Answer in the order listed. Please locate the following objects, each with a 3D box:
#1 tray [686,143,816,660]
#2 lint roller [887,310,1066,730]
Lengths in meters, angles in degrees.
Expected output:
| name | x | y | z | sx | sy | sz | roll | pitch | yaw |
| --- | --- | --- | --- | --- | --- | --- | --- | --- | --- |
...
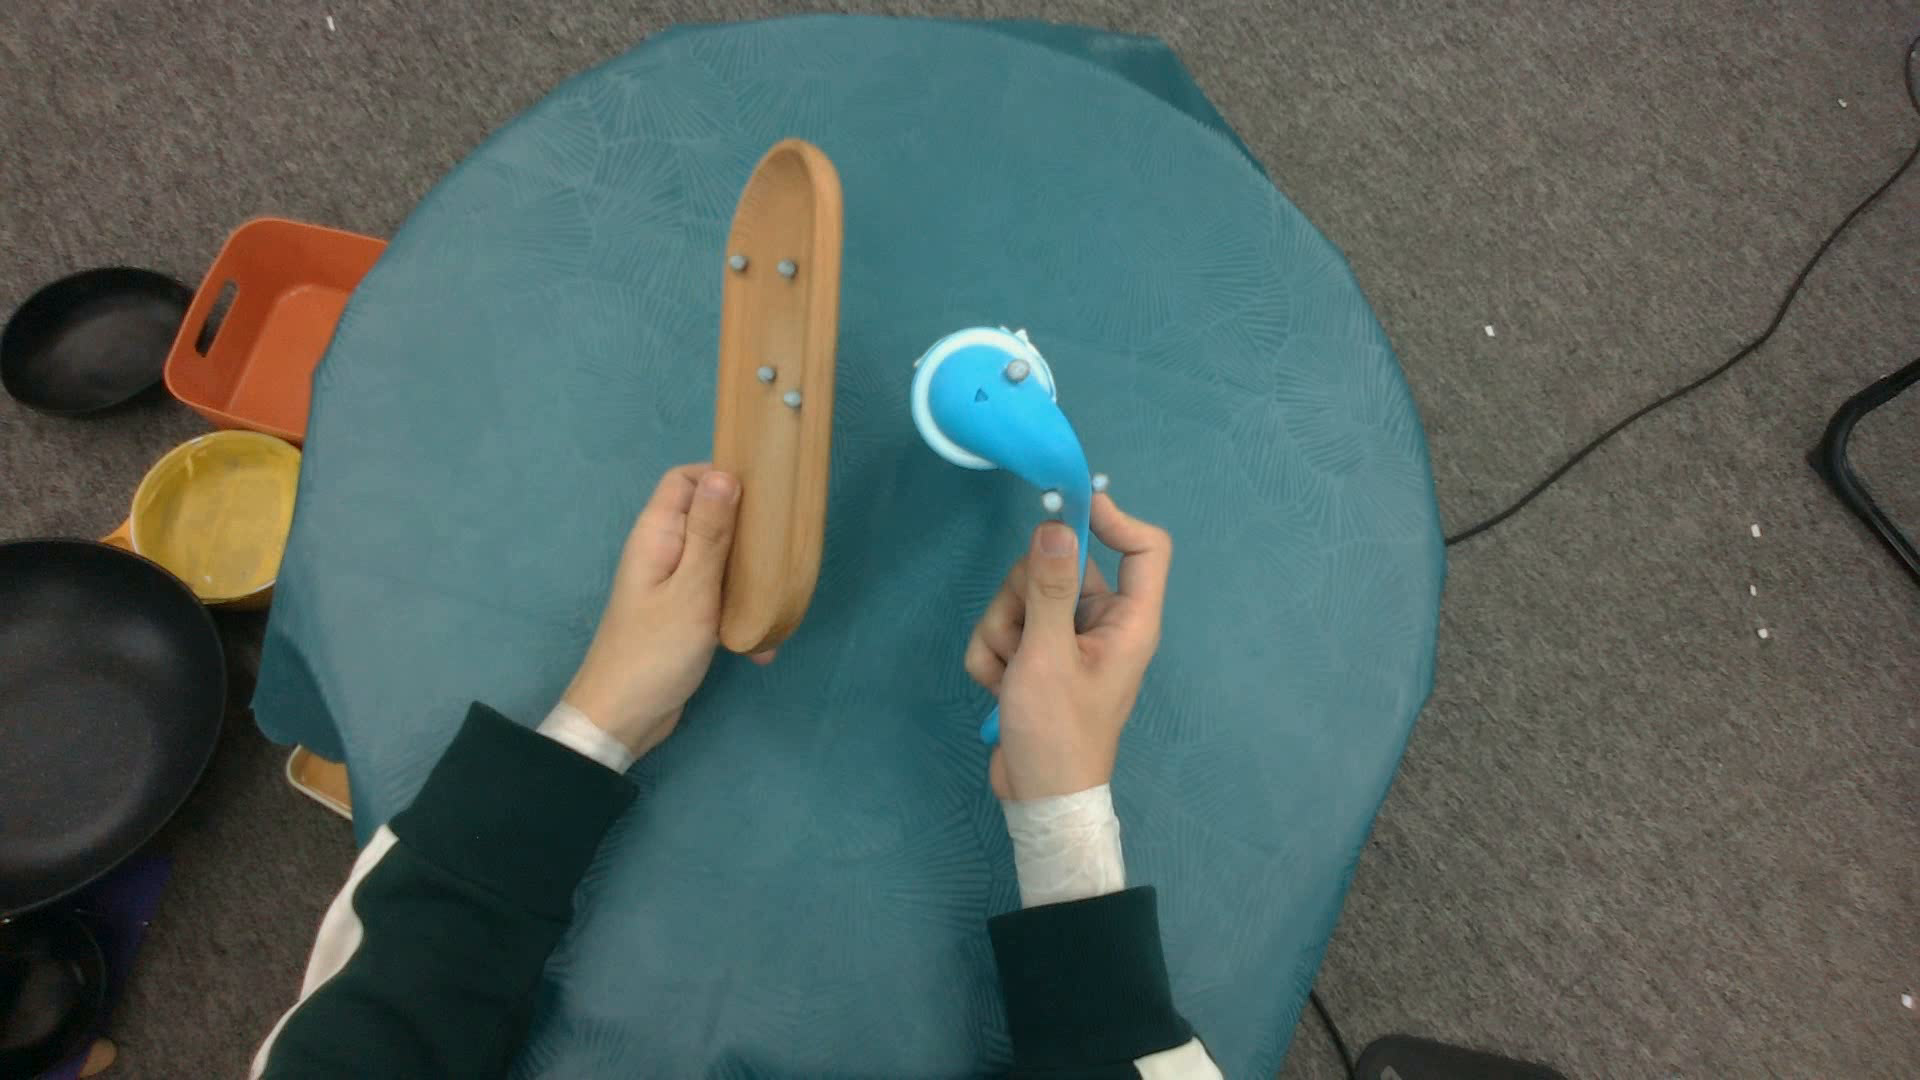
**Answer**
| name | x | y | z | sx | sy | sz | roll | pitch | yaw |
| --- | --- | --- | --- | --- | --- | --- | --- | --- | --- |
| tray | -0.093 | -0.063 | 0.612 | 0.020 | 0.101 | 0.231 | 5 | 80 | -32 |
| lint roller | 0.014 | -0.009 | 0.609 | 0.068 | 0.229 | 0.180 | -12 | 97 | 1 |
